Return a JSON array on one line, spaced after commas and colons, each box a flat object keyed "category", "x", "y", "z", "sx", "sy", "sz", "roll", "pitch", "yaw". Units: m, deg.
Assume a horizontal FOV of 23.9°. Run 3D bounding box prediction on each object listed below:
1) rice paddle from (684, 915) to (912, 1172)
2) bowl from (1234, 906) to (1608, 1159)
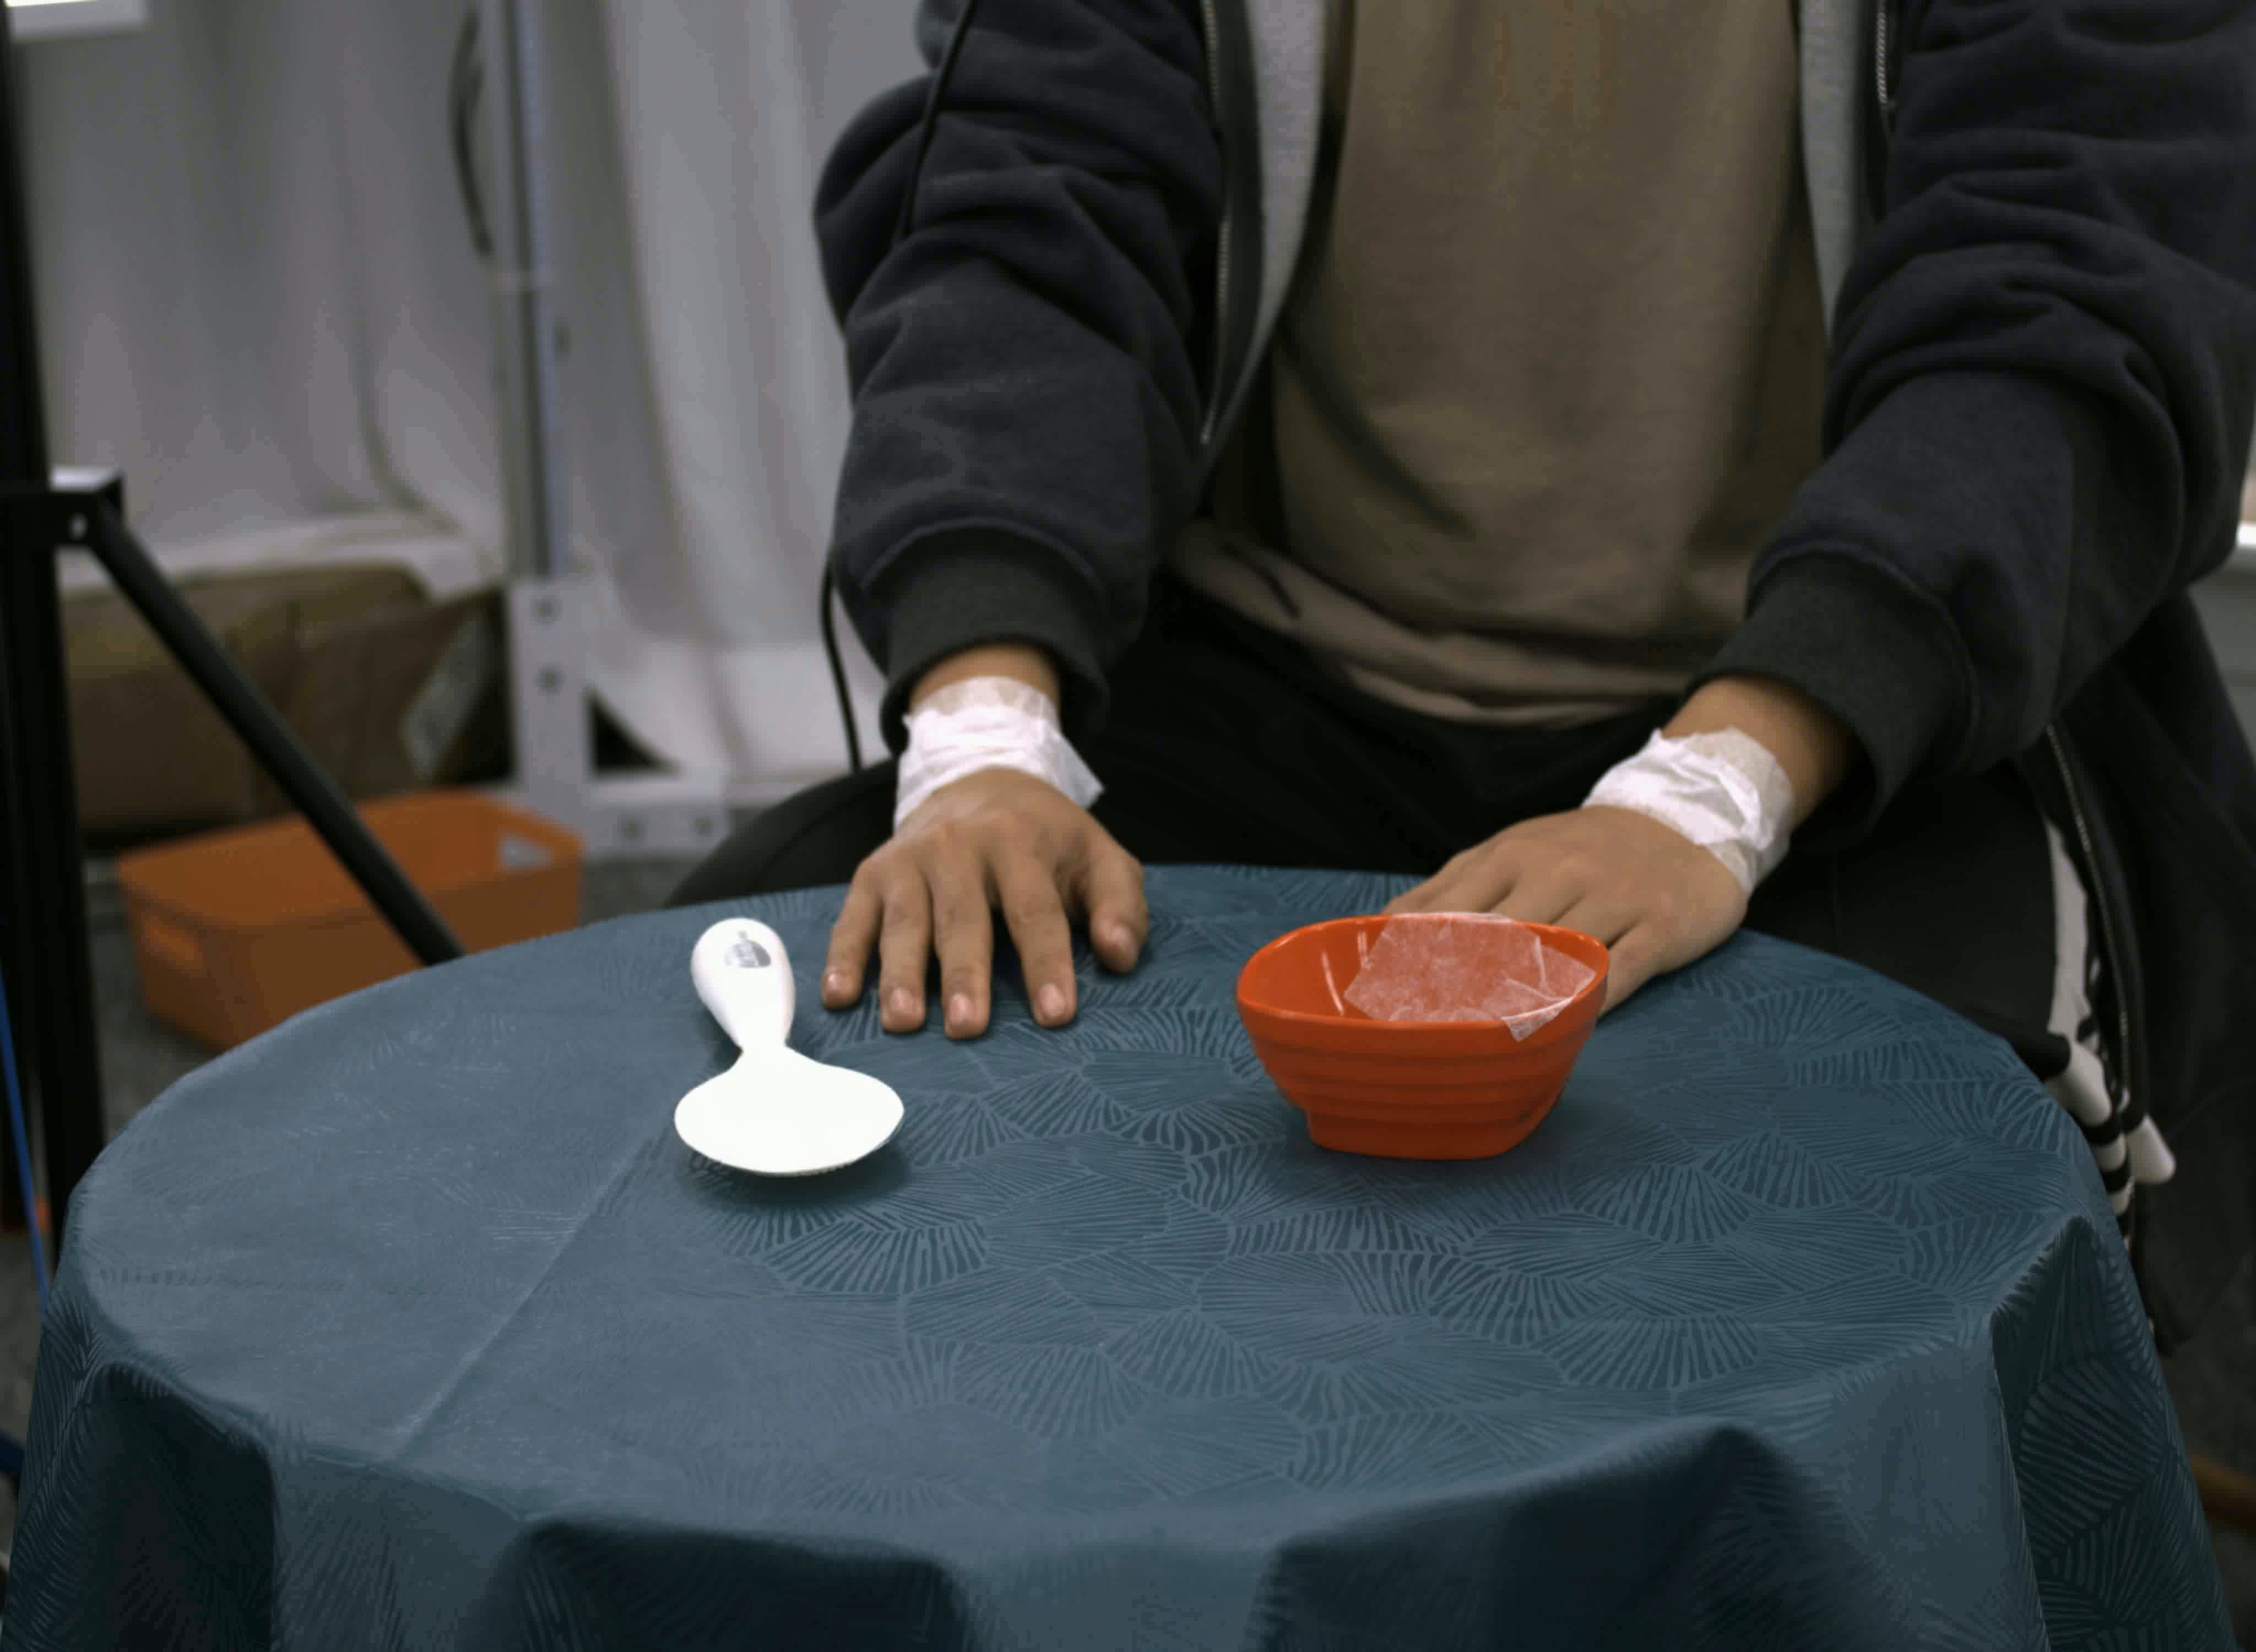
[{"category": "rice paddle", "x": -0.110, "y": 0.070, "z": 1.657, "sx": 0.068, "sy": 0.029, "sz": 0.207, "roll": -7, "pitch": 16, "yaw": -9}, {"category": "bowl", "x": 0.089, "y": 0.065, "z": 1.600, "sx": 0.118, "sy": 0.051, "sz": 0.119, "roll": -3, "pitch": 17, "yaw": 0}]
